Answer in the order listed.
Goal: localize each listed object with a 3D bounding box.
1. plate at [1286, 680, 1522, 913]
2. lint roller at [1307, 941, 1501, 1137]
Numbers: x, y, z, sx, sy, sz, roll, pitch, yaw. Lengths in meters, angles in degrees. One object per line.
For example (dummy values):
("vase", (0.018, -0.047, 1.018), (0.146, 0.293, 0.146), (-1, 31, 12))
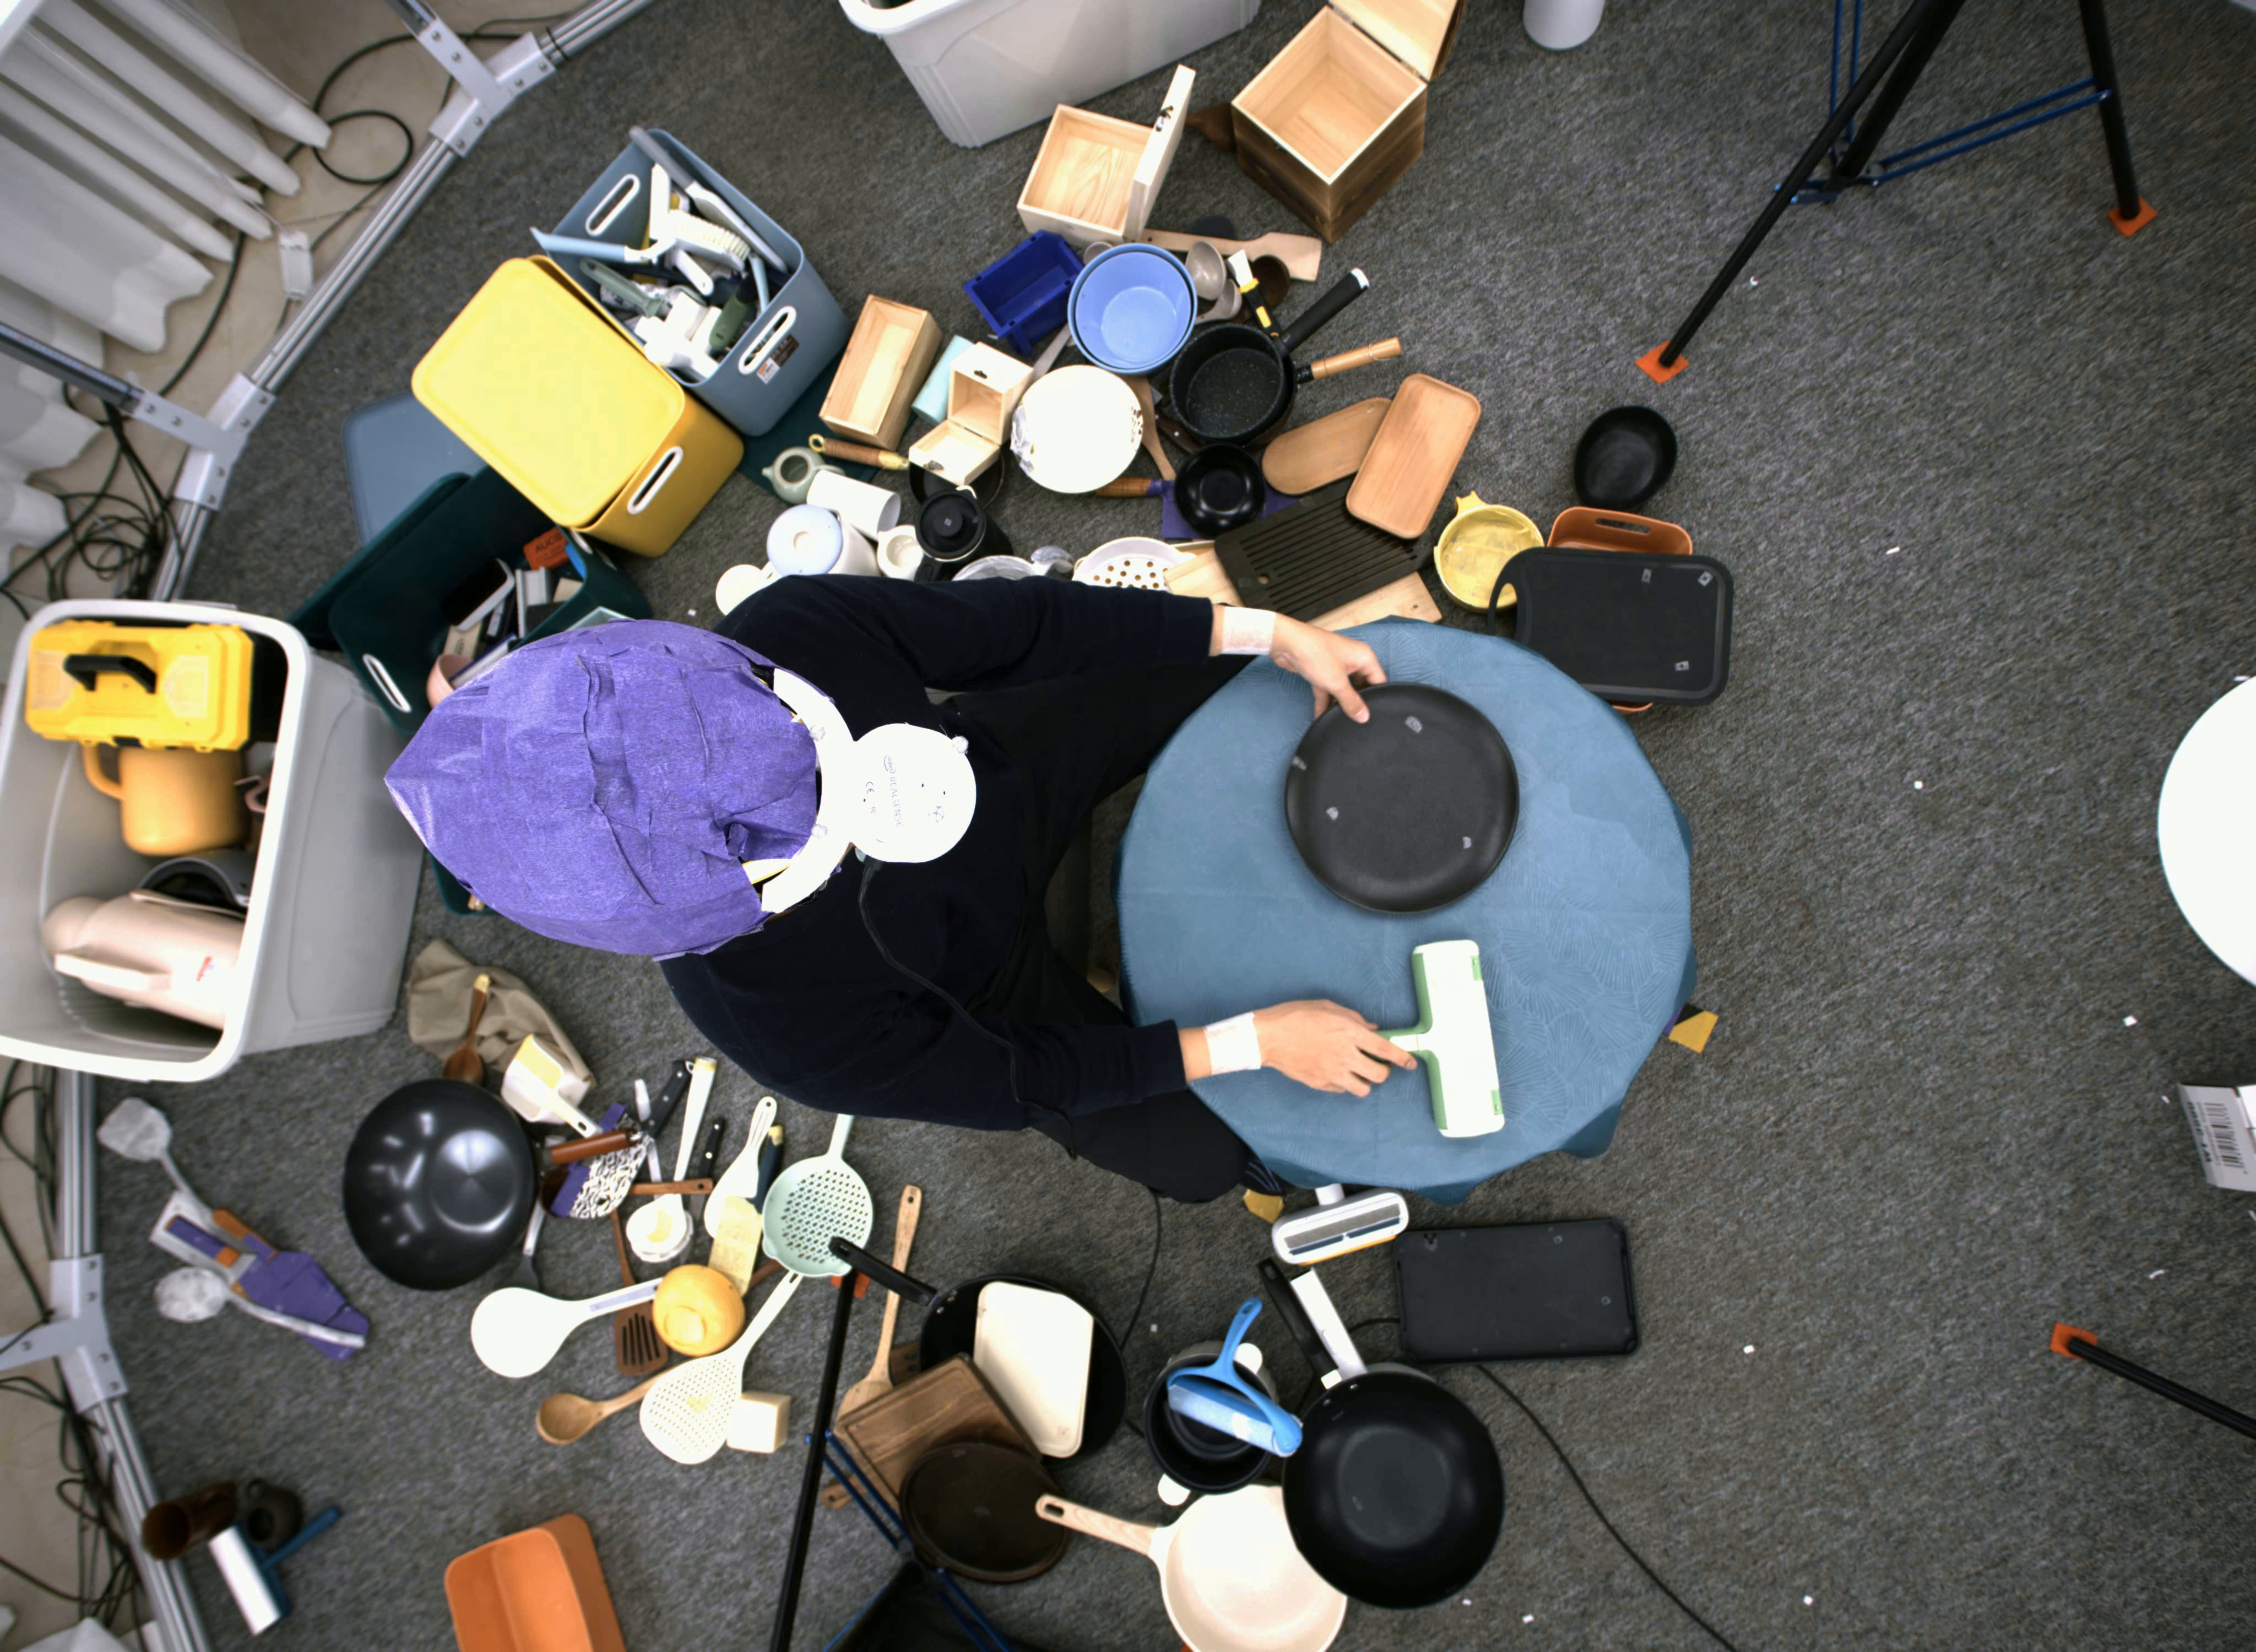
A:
("plate", (0.288, -0.032, 1.441), (0.245, 0.023, 0.244), (0, 91, 7))
("lint roller", (0.276, 0.220, 1.405), (0.183, 0.082, 0.197), (-7, 84, 2))
